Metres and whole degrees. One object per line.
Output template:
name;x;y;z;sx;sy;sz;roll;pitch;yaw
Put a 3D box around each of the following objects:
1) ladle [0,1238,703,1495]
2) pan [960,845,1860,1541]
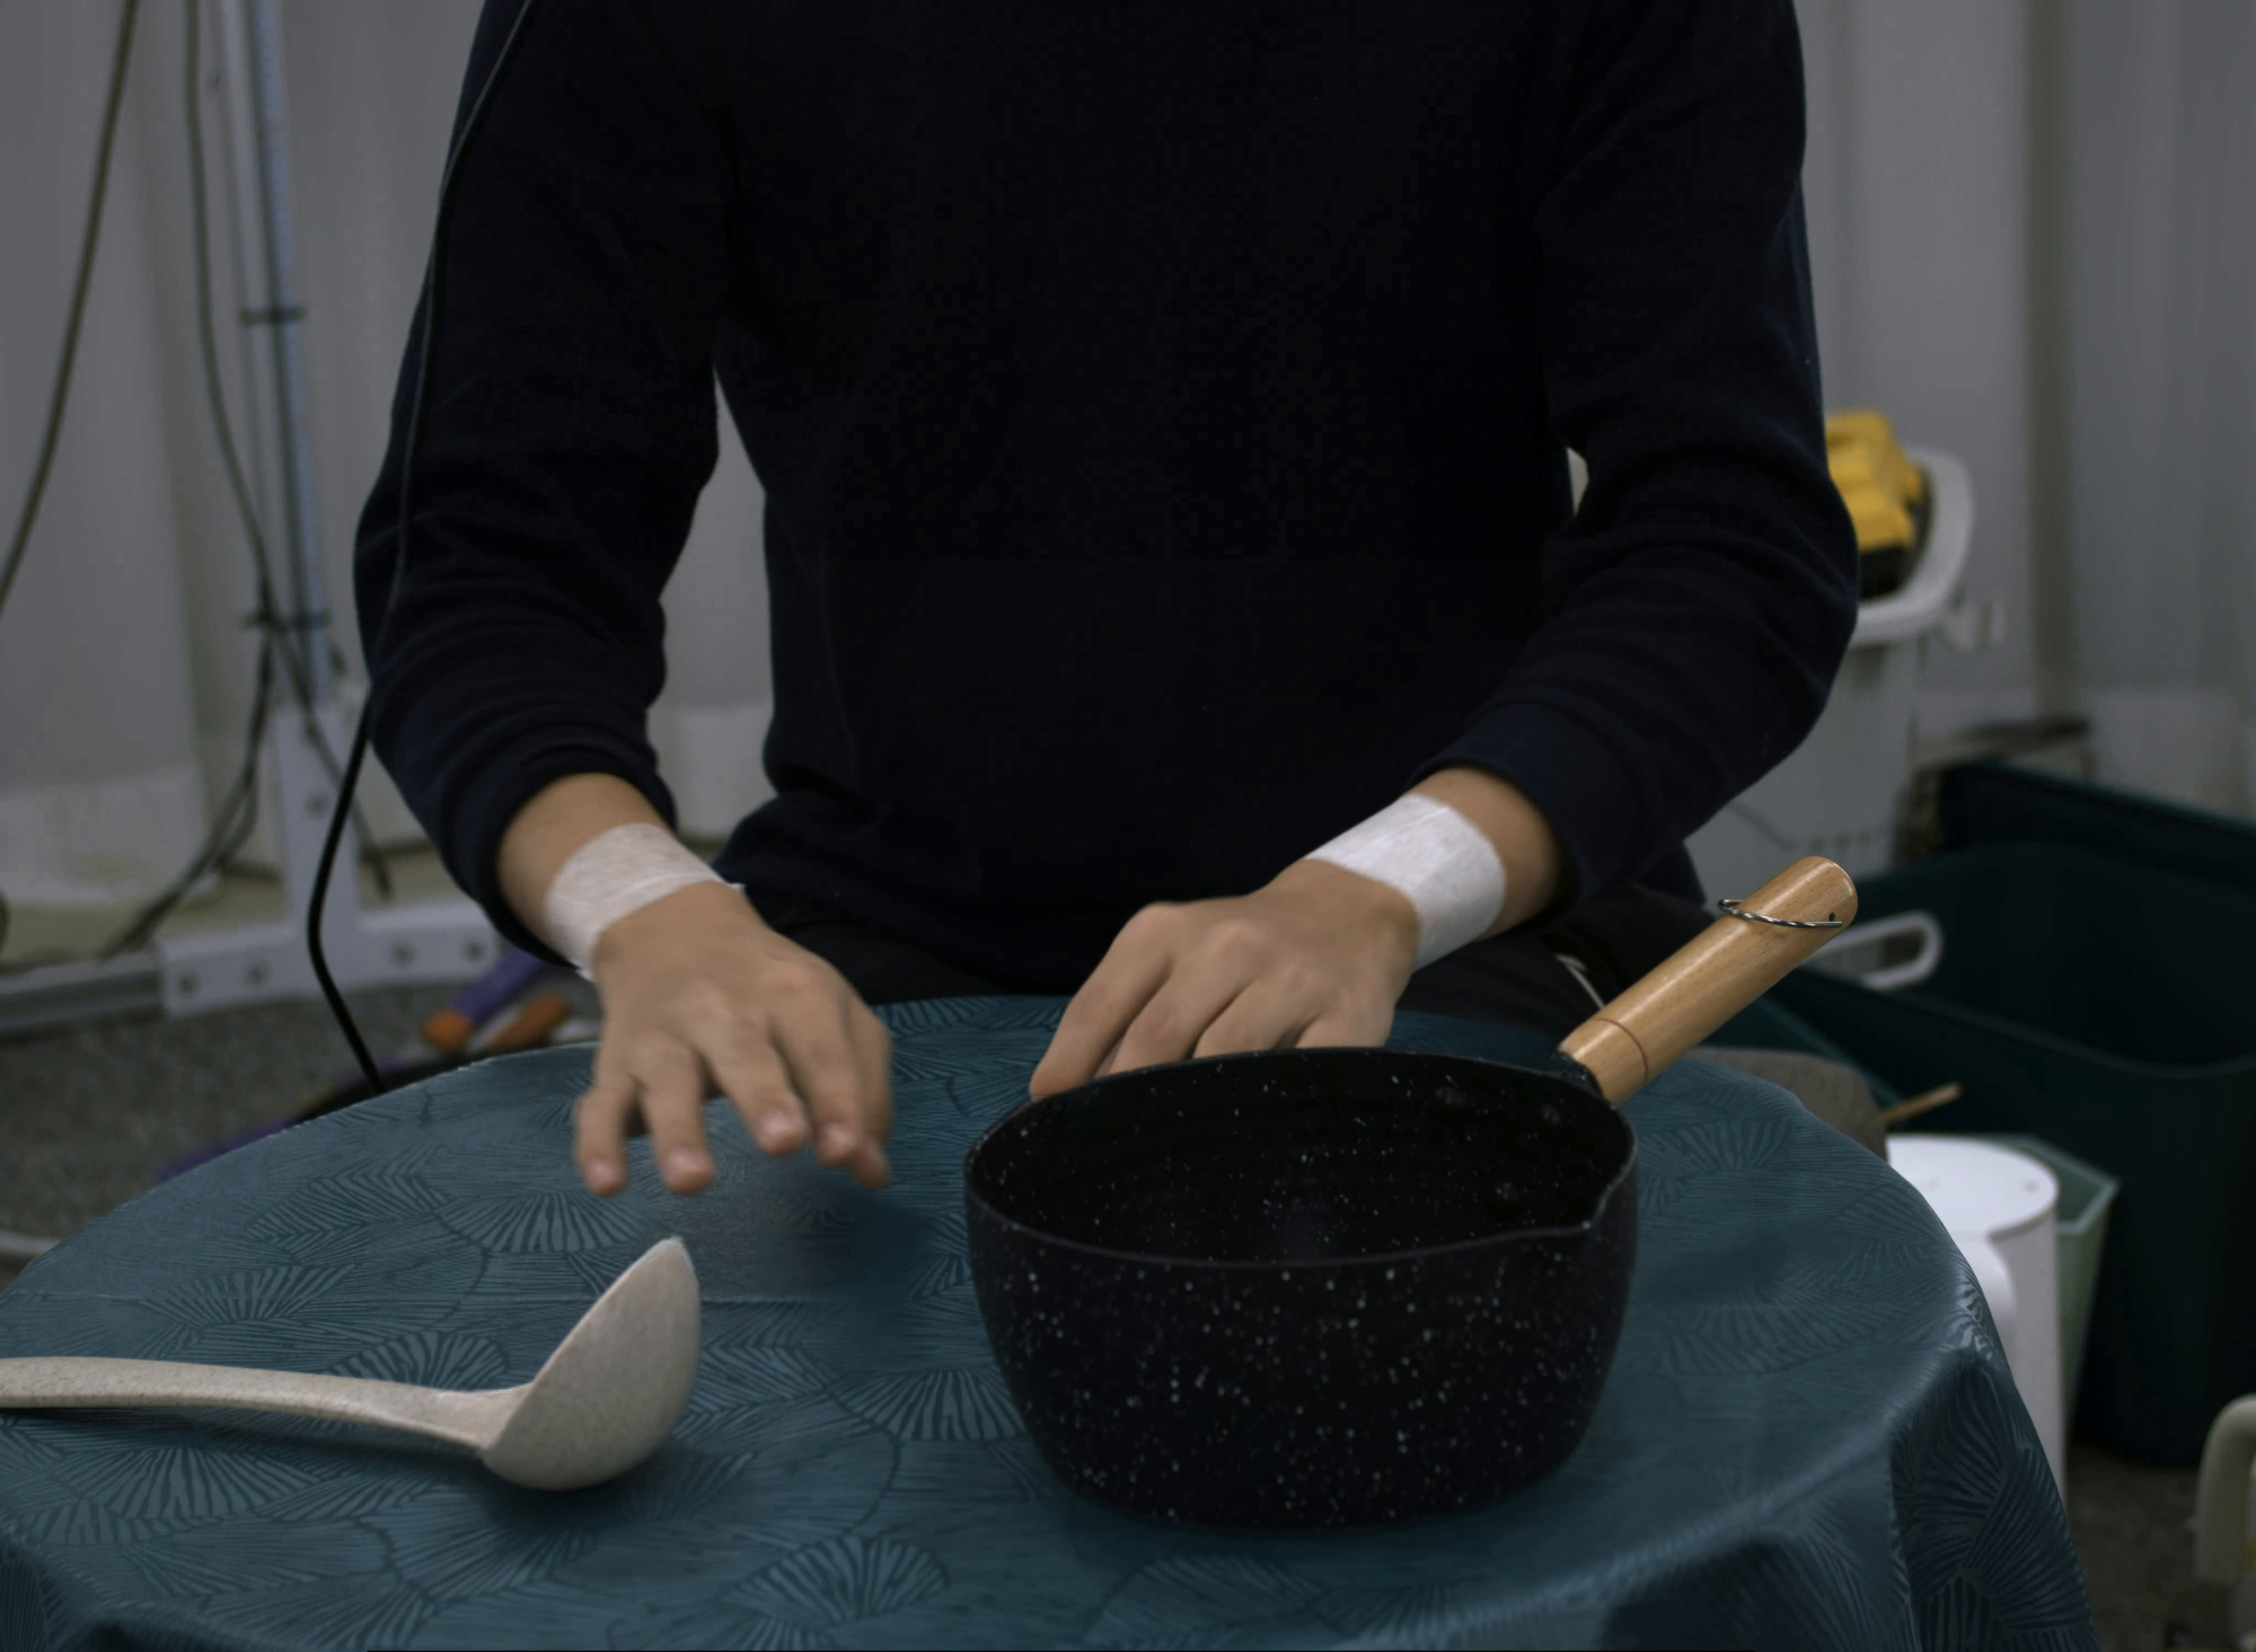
ladle;-0.245;0.144;1.540;0.275;0.069;0.090;2;24;26
pan;0.100;0.098;1.549;0.208;0.108;0.342;9;20;41
